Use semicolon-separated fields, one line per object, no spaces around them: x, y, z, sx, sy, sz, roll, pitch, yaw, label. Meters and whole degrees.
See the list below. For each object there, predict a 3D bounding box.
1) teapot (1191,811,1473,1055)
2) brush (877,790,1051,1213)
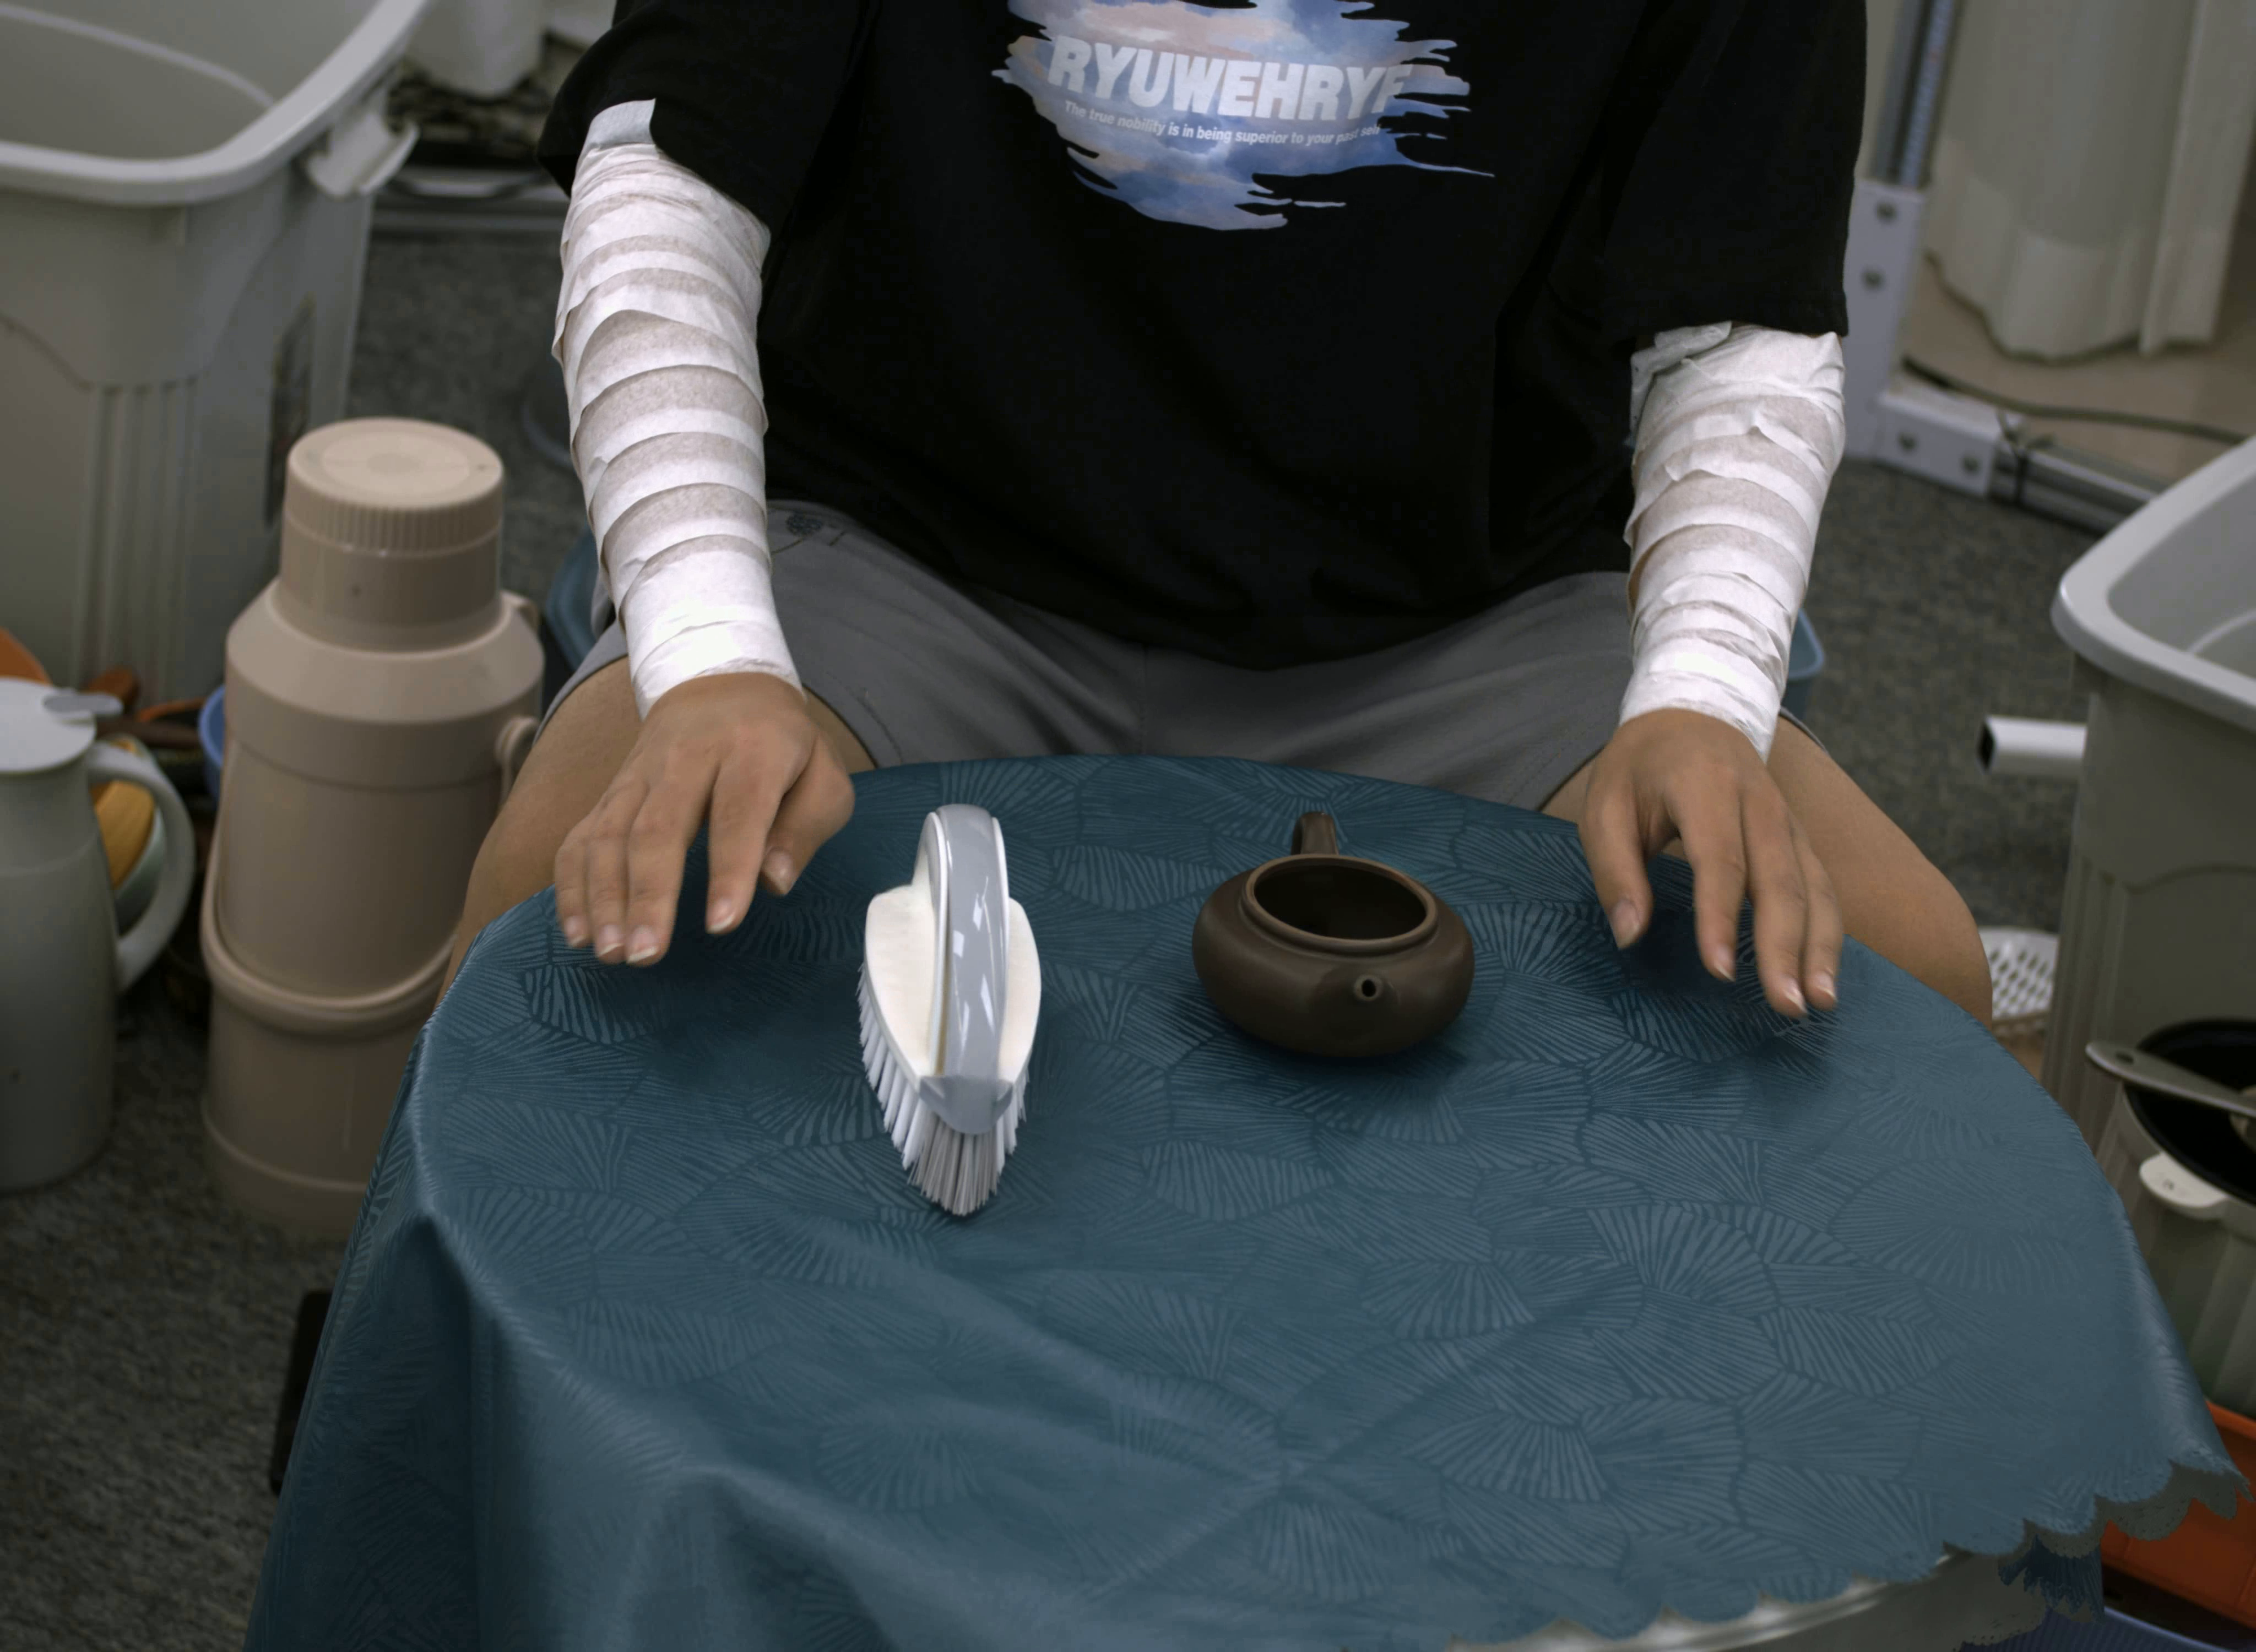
0.073;0.042;1.921;0.102;0.053;0.155;2;27;-13;teapot
-0.055;0.052;1.832;0.061;0.094;0.177;1;29;-4;brush
